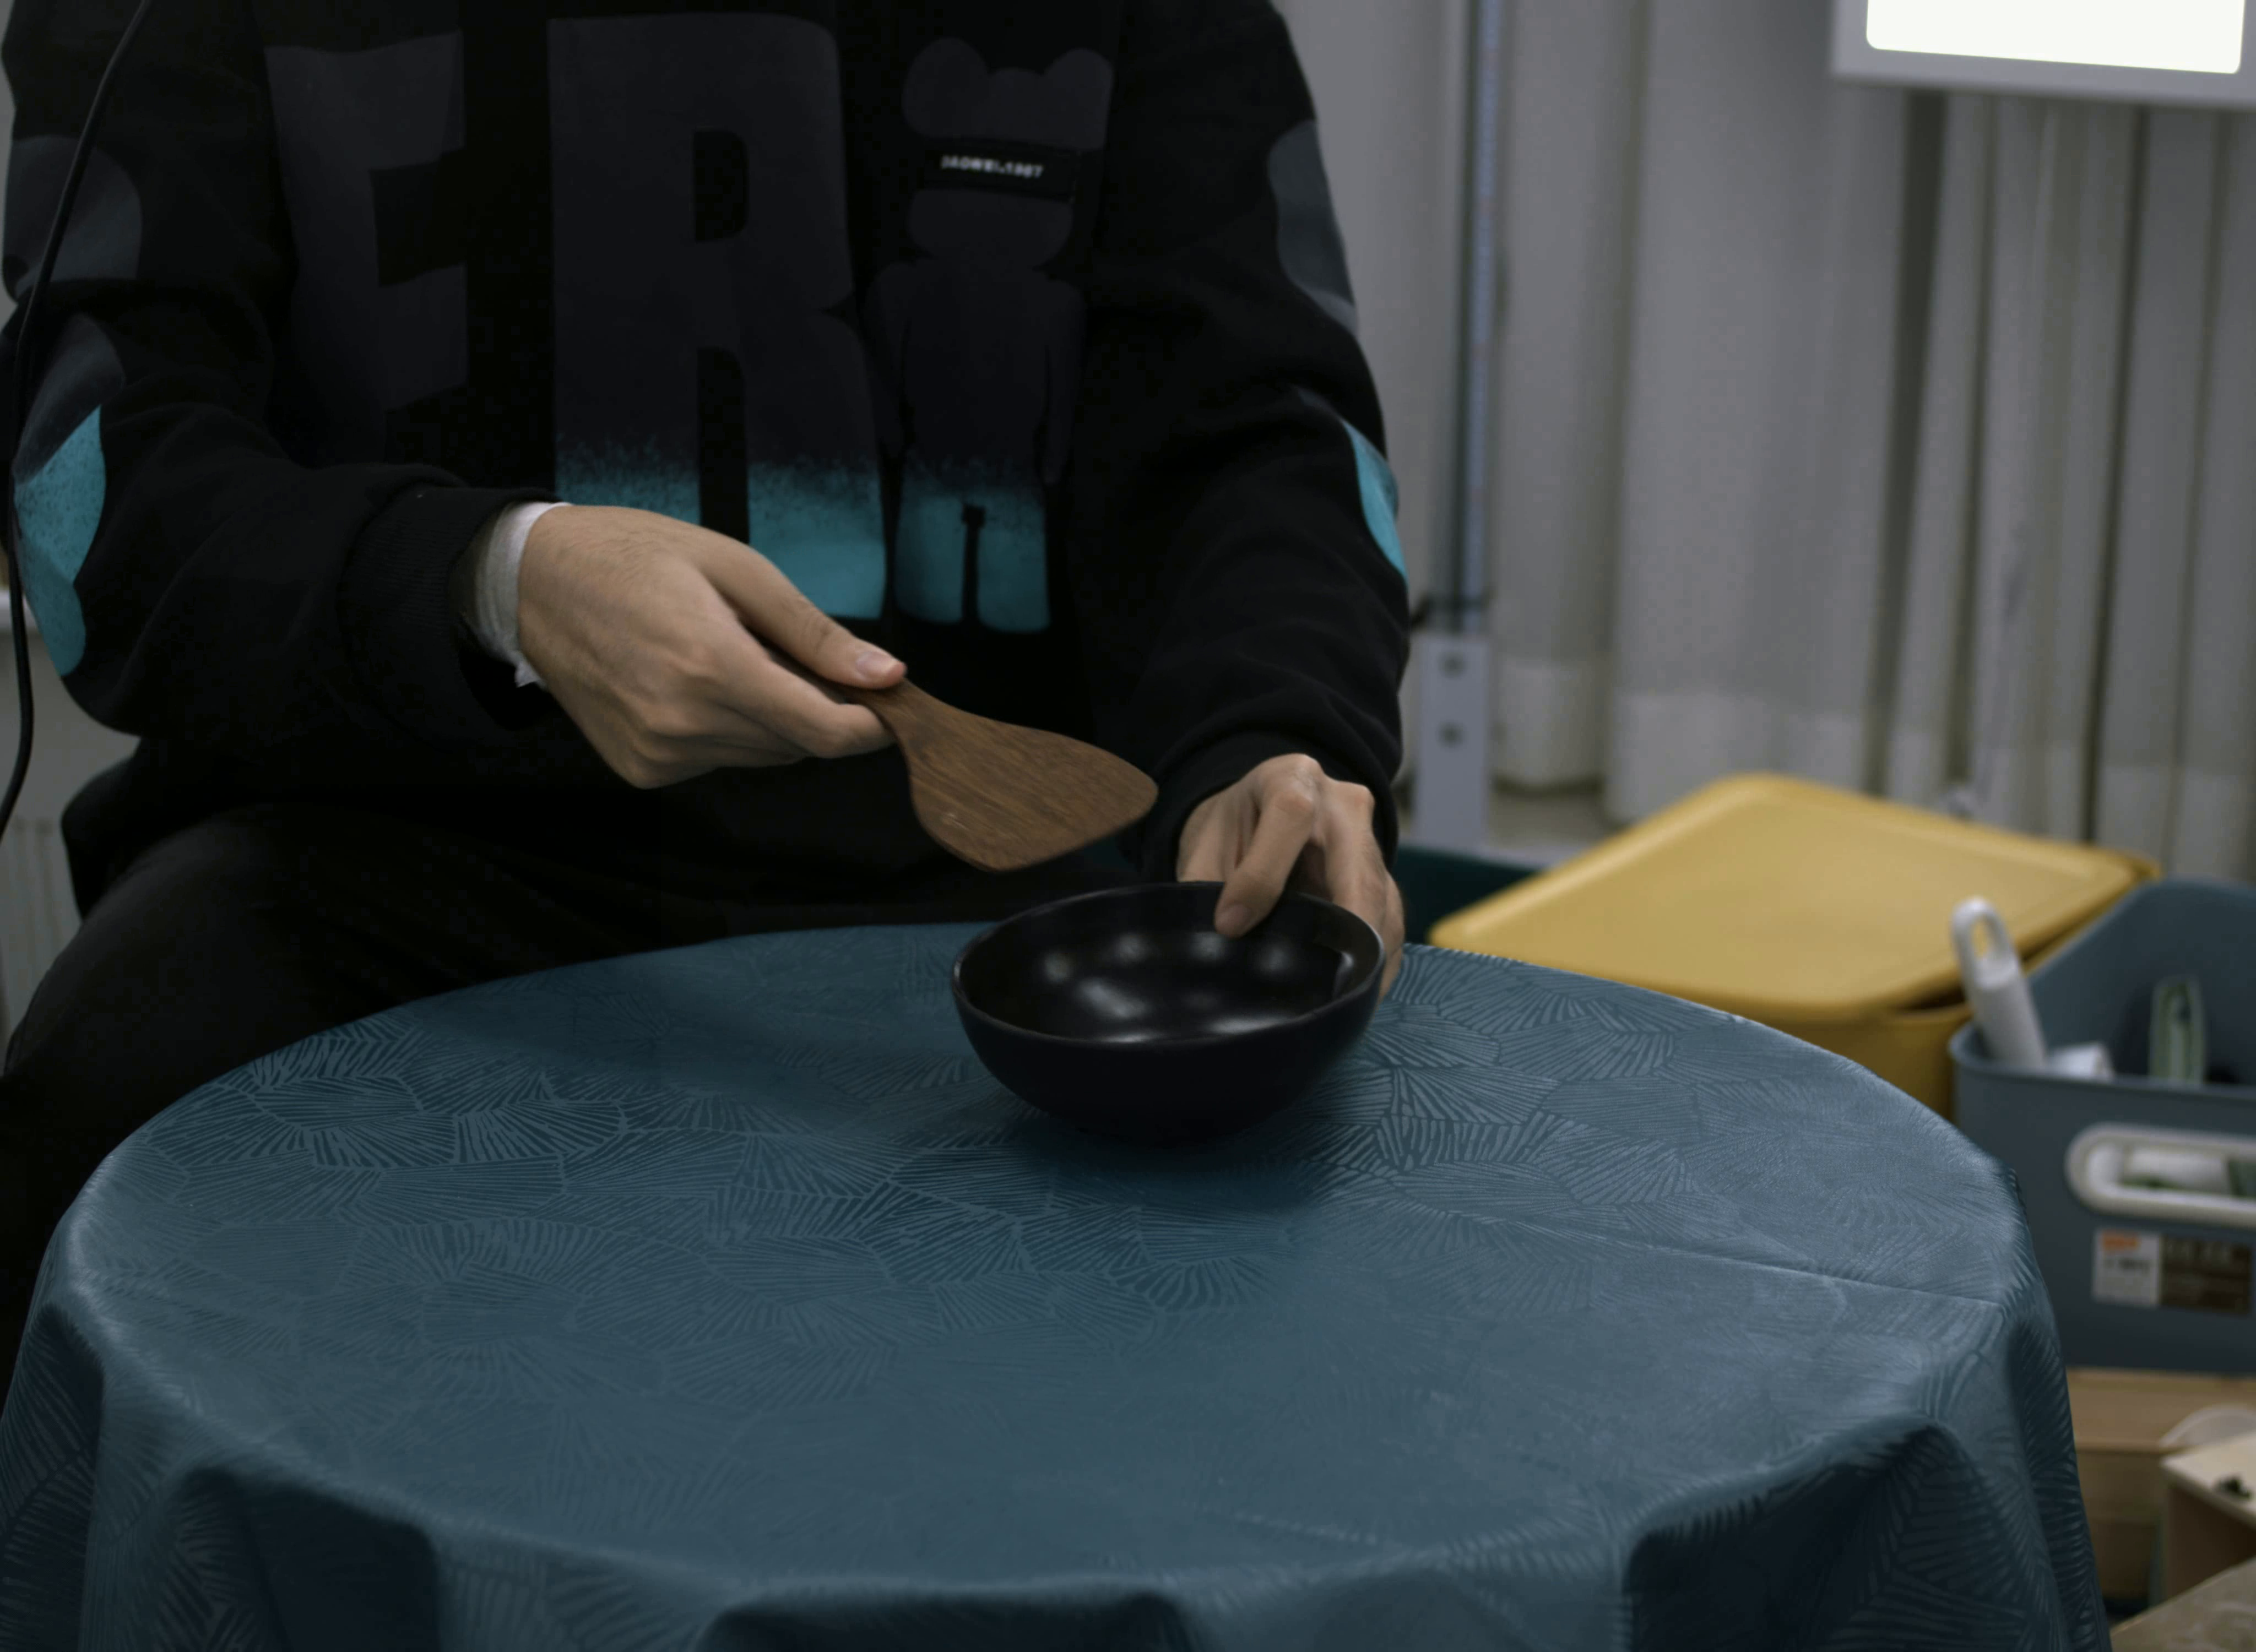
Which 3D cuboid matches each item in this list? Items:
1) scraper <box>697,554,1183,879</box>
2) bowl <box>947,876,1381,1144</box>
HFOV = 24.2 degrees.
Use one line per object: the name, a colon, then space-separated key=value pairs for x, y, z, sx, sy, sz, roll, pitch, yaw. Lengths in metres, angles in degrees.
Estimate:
scraper: x=-0.071 y=-0.039 z=1.709 sx=0.076 sy=0.011 sz=0.208 roll=-24 pitch=43 yaw=-32
bowl: x=0.014 y=0.064 z=1.680 sx=0.139 sy=0.050 sz=0.139 roll=-5 pitch=21 yaw=3
